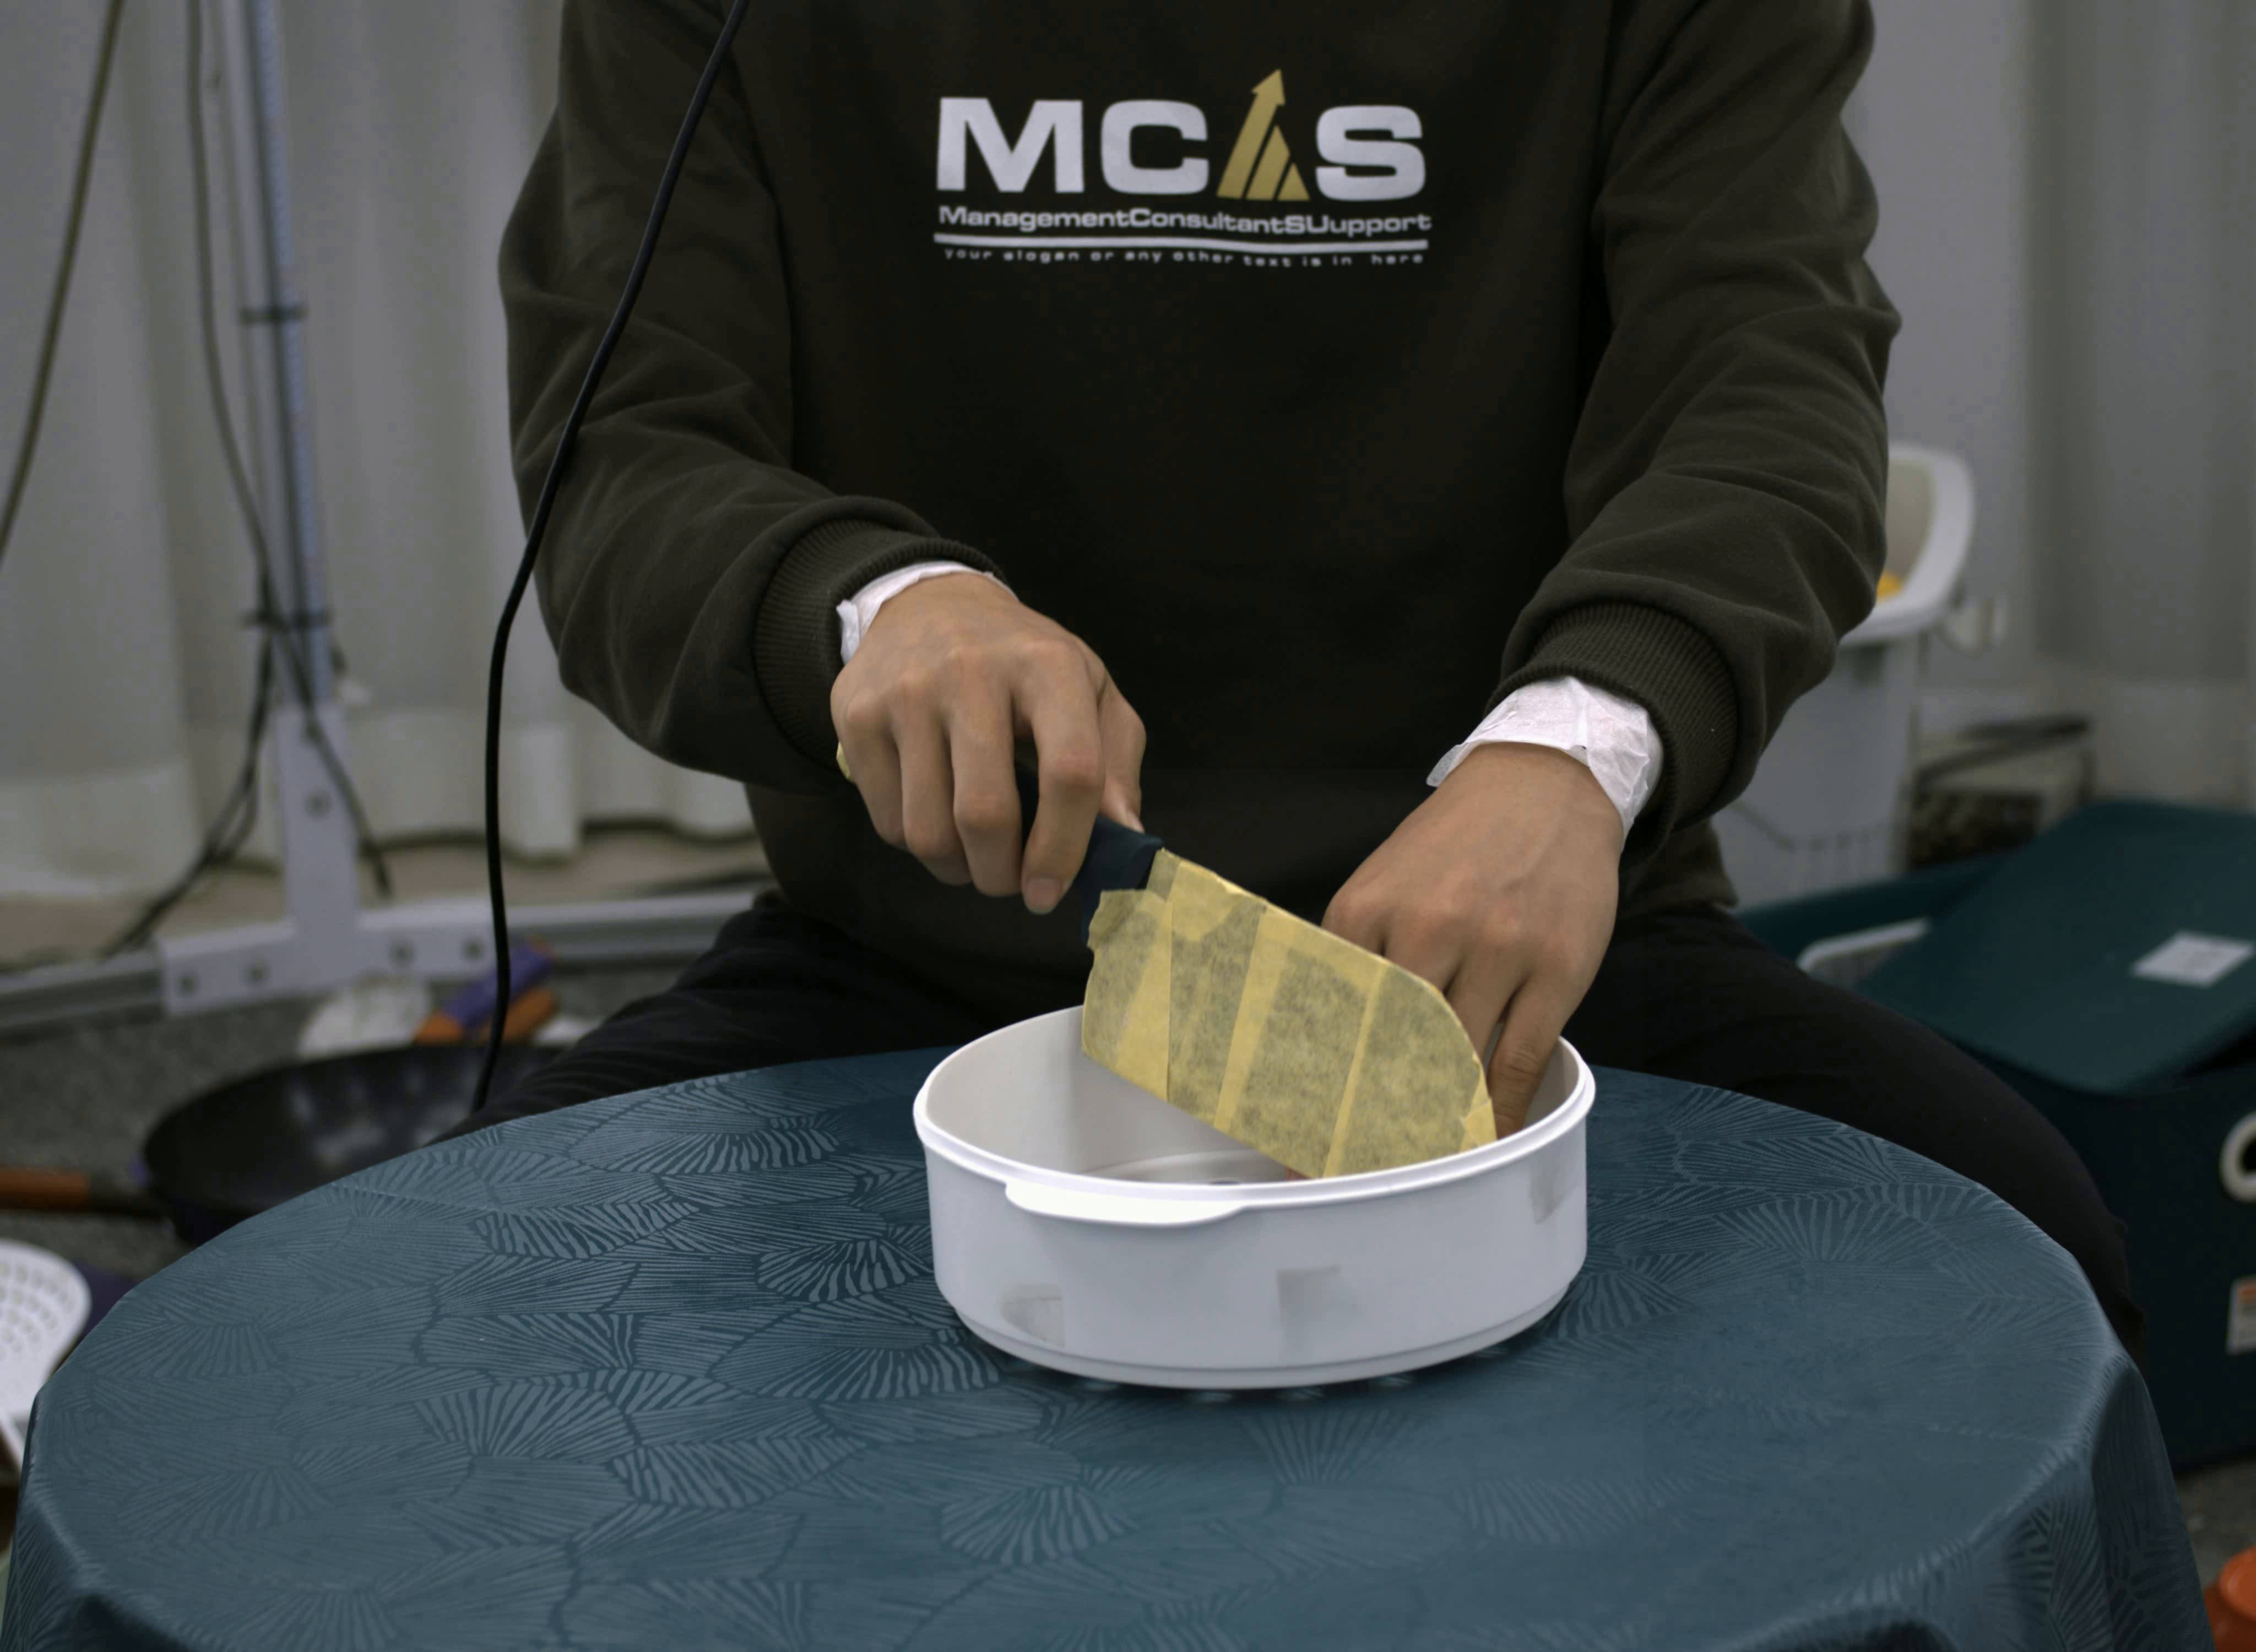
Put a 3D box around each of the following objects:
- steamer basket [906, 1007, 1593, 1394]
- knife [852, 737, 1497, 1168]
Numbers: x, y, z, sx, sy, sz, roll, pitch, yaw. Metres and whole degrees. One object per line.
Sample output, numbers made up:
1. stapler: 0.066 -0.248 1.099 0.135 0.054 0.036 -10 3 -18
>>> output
1. steamer basket: 0.036 0.108 1.607 0.202 0.069 0.231 5 15 24
2. knife: 0.010 0.043 1.658 0.027 0.081 0.292 2 21 -46
